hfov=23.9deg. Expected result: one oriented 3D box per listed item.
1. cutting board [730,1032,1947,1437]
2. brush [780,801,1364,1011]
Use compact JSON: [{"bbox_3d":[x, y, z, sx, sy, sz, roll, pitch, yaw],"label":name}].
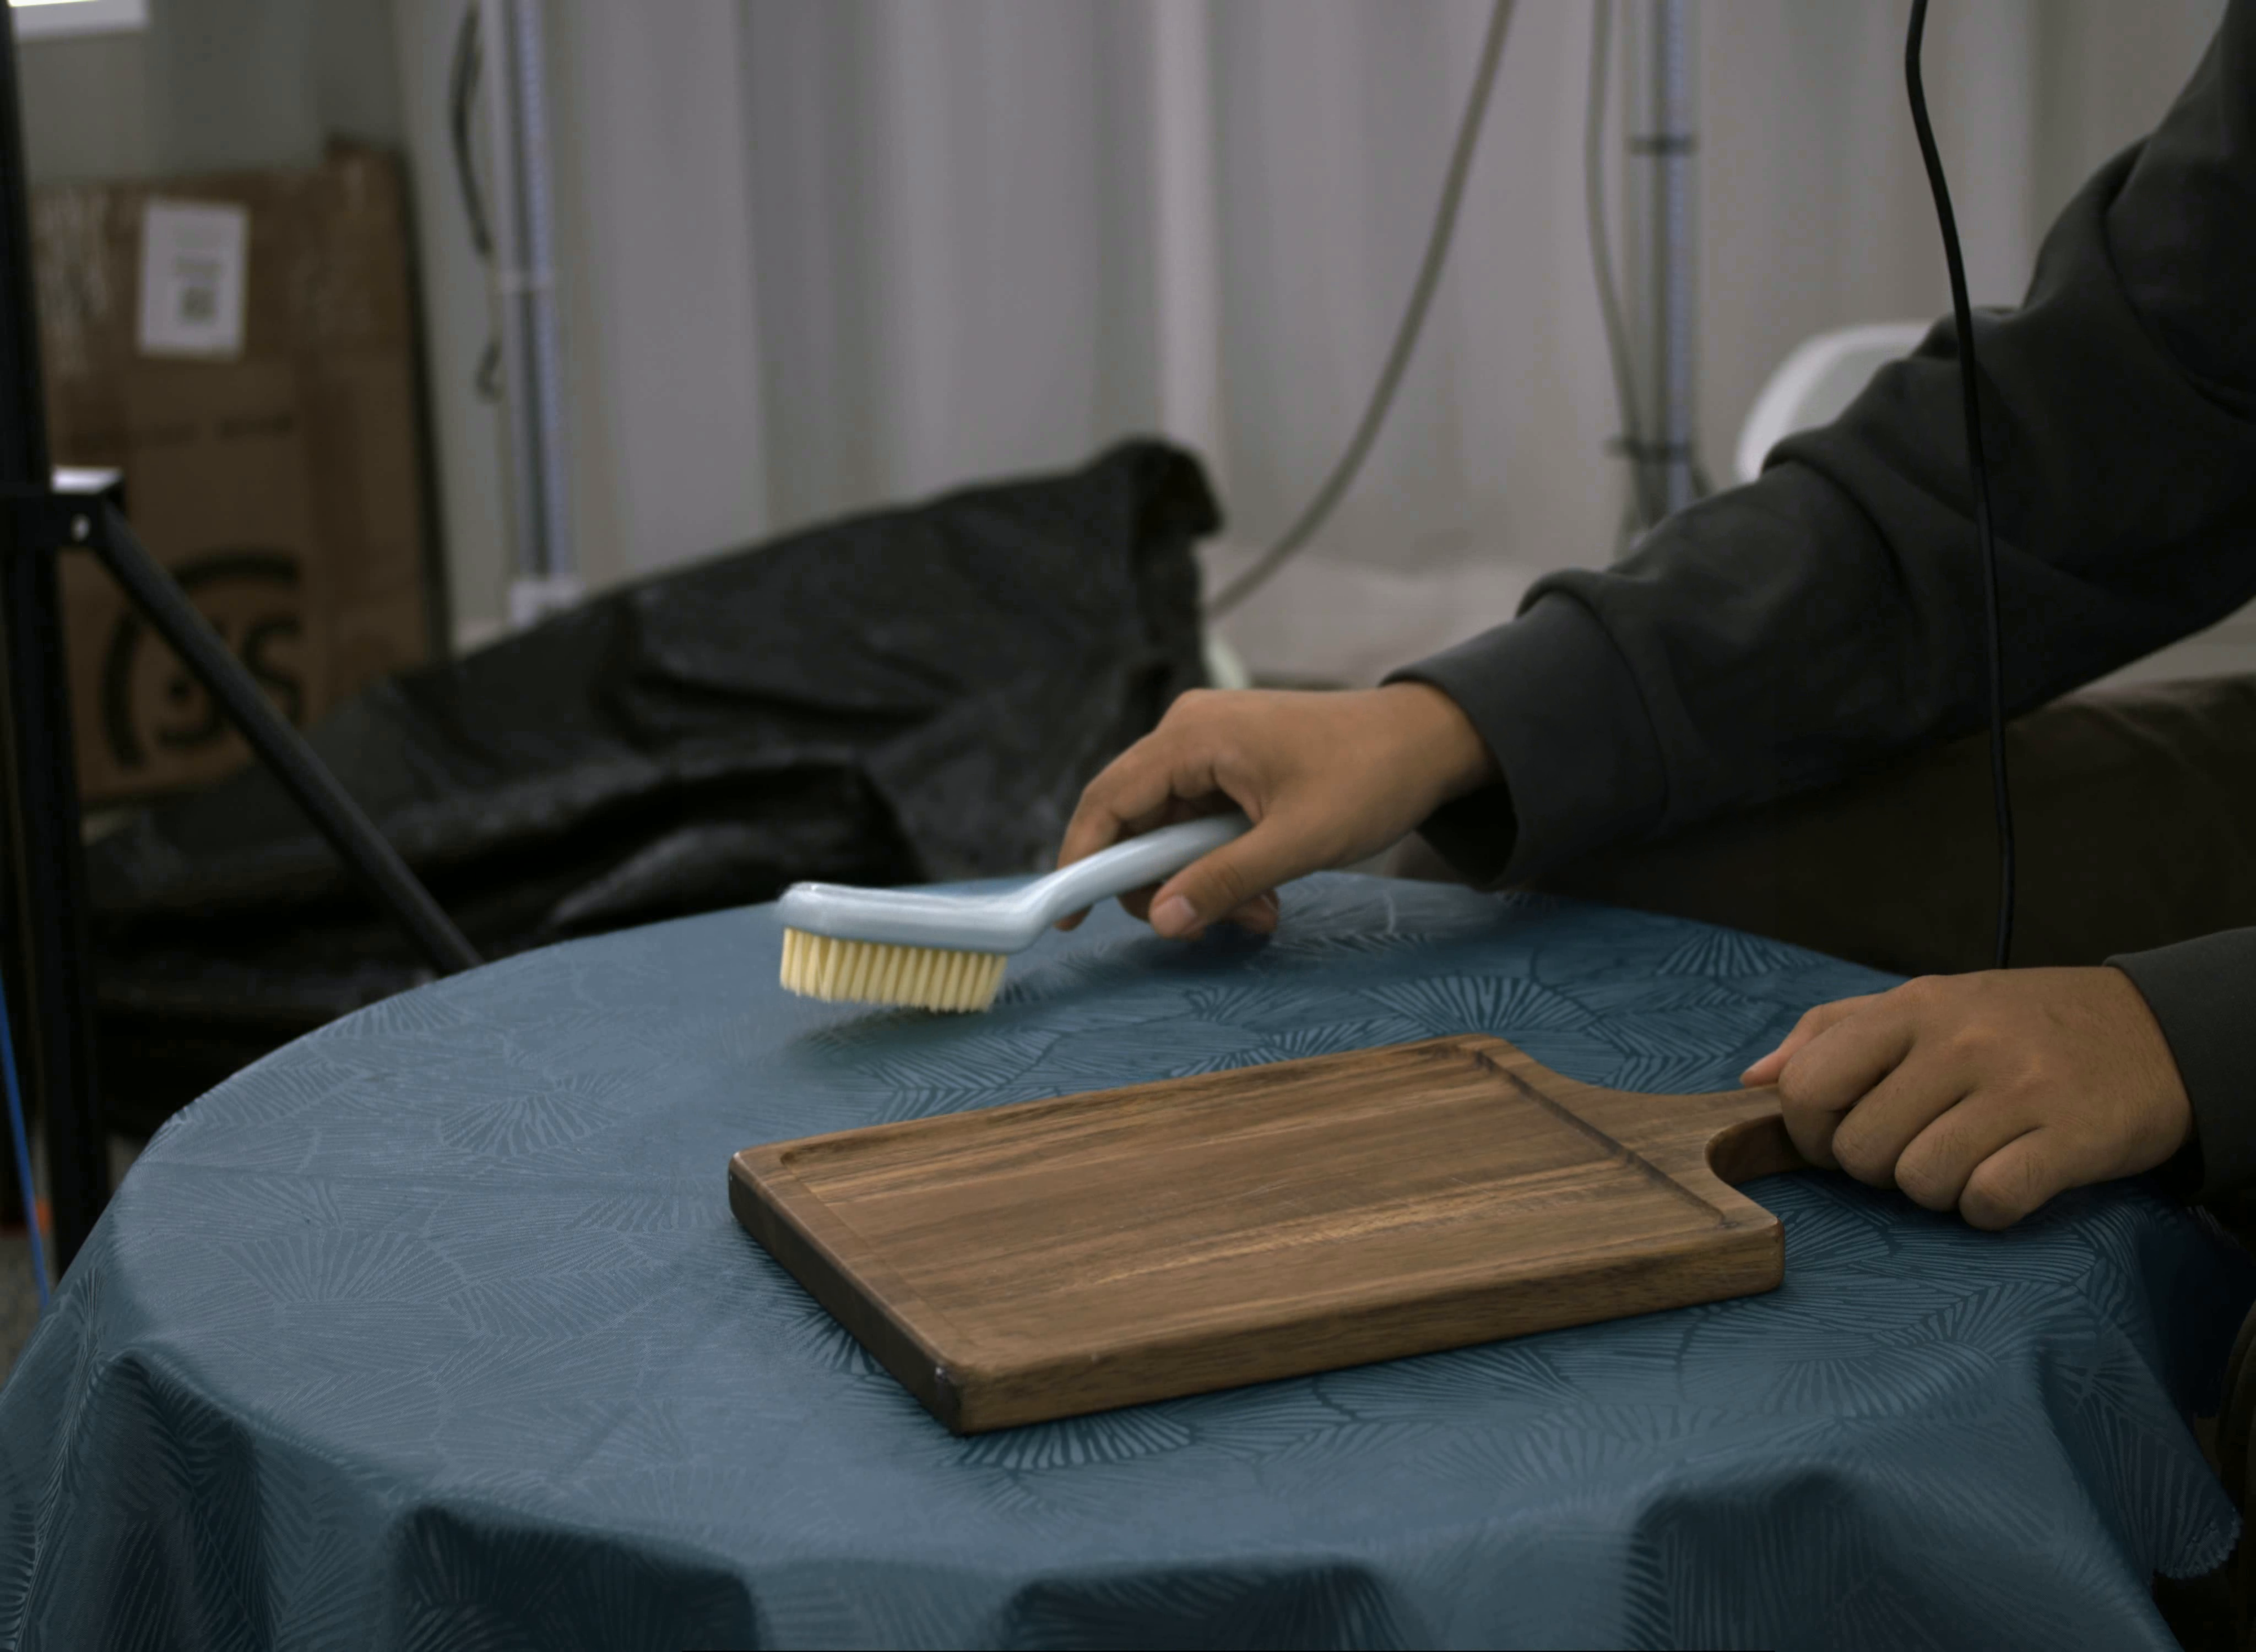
[{"bbox_3d":[0.080,0.105,1.517,0.346,0.023,0.205,-8,17,-19],"label":"cutting board"},{"bbox_3d":[-0.016,0.028,1.760,0.223,0.050,0.038,-12,19,-33],"label":"brush"}]
